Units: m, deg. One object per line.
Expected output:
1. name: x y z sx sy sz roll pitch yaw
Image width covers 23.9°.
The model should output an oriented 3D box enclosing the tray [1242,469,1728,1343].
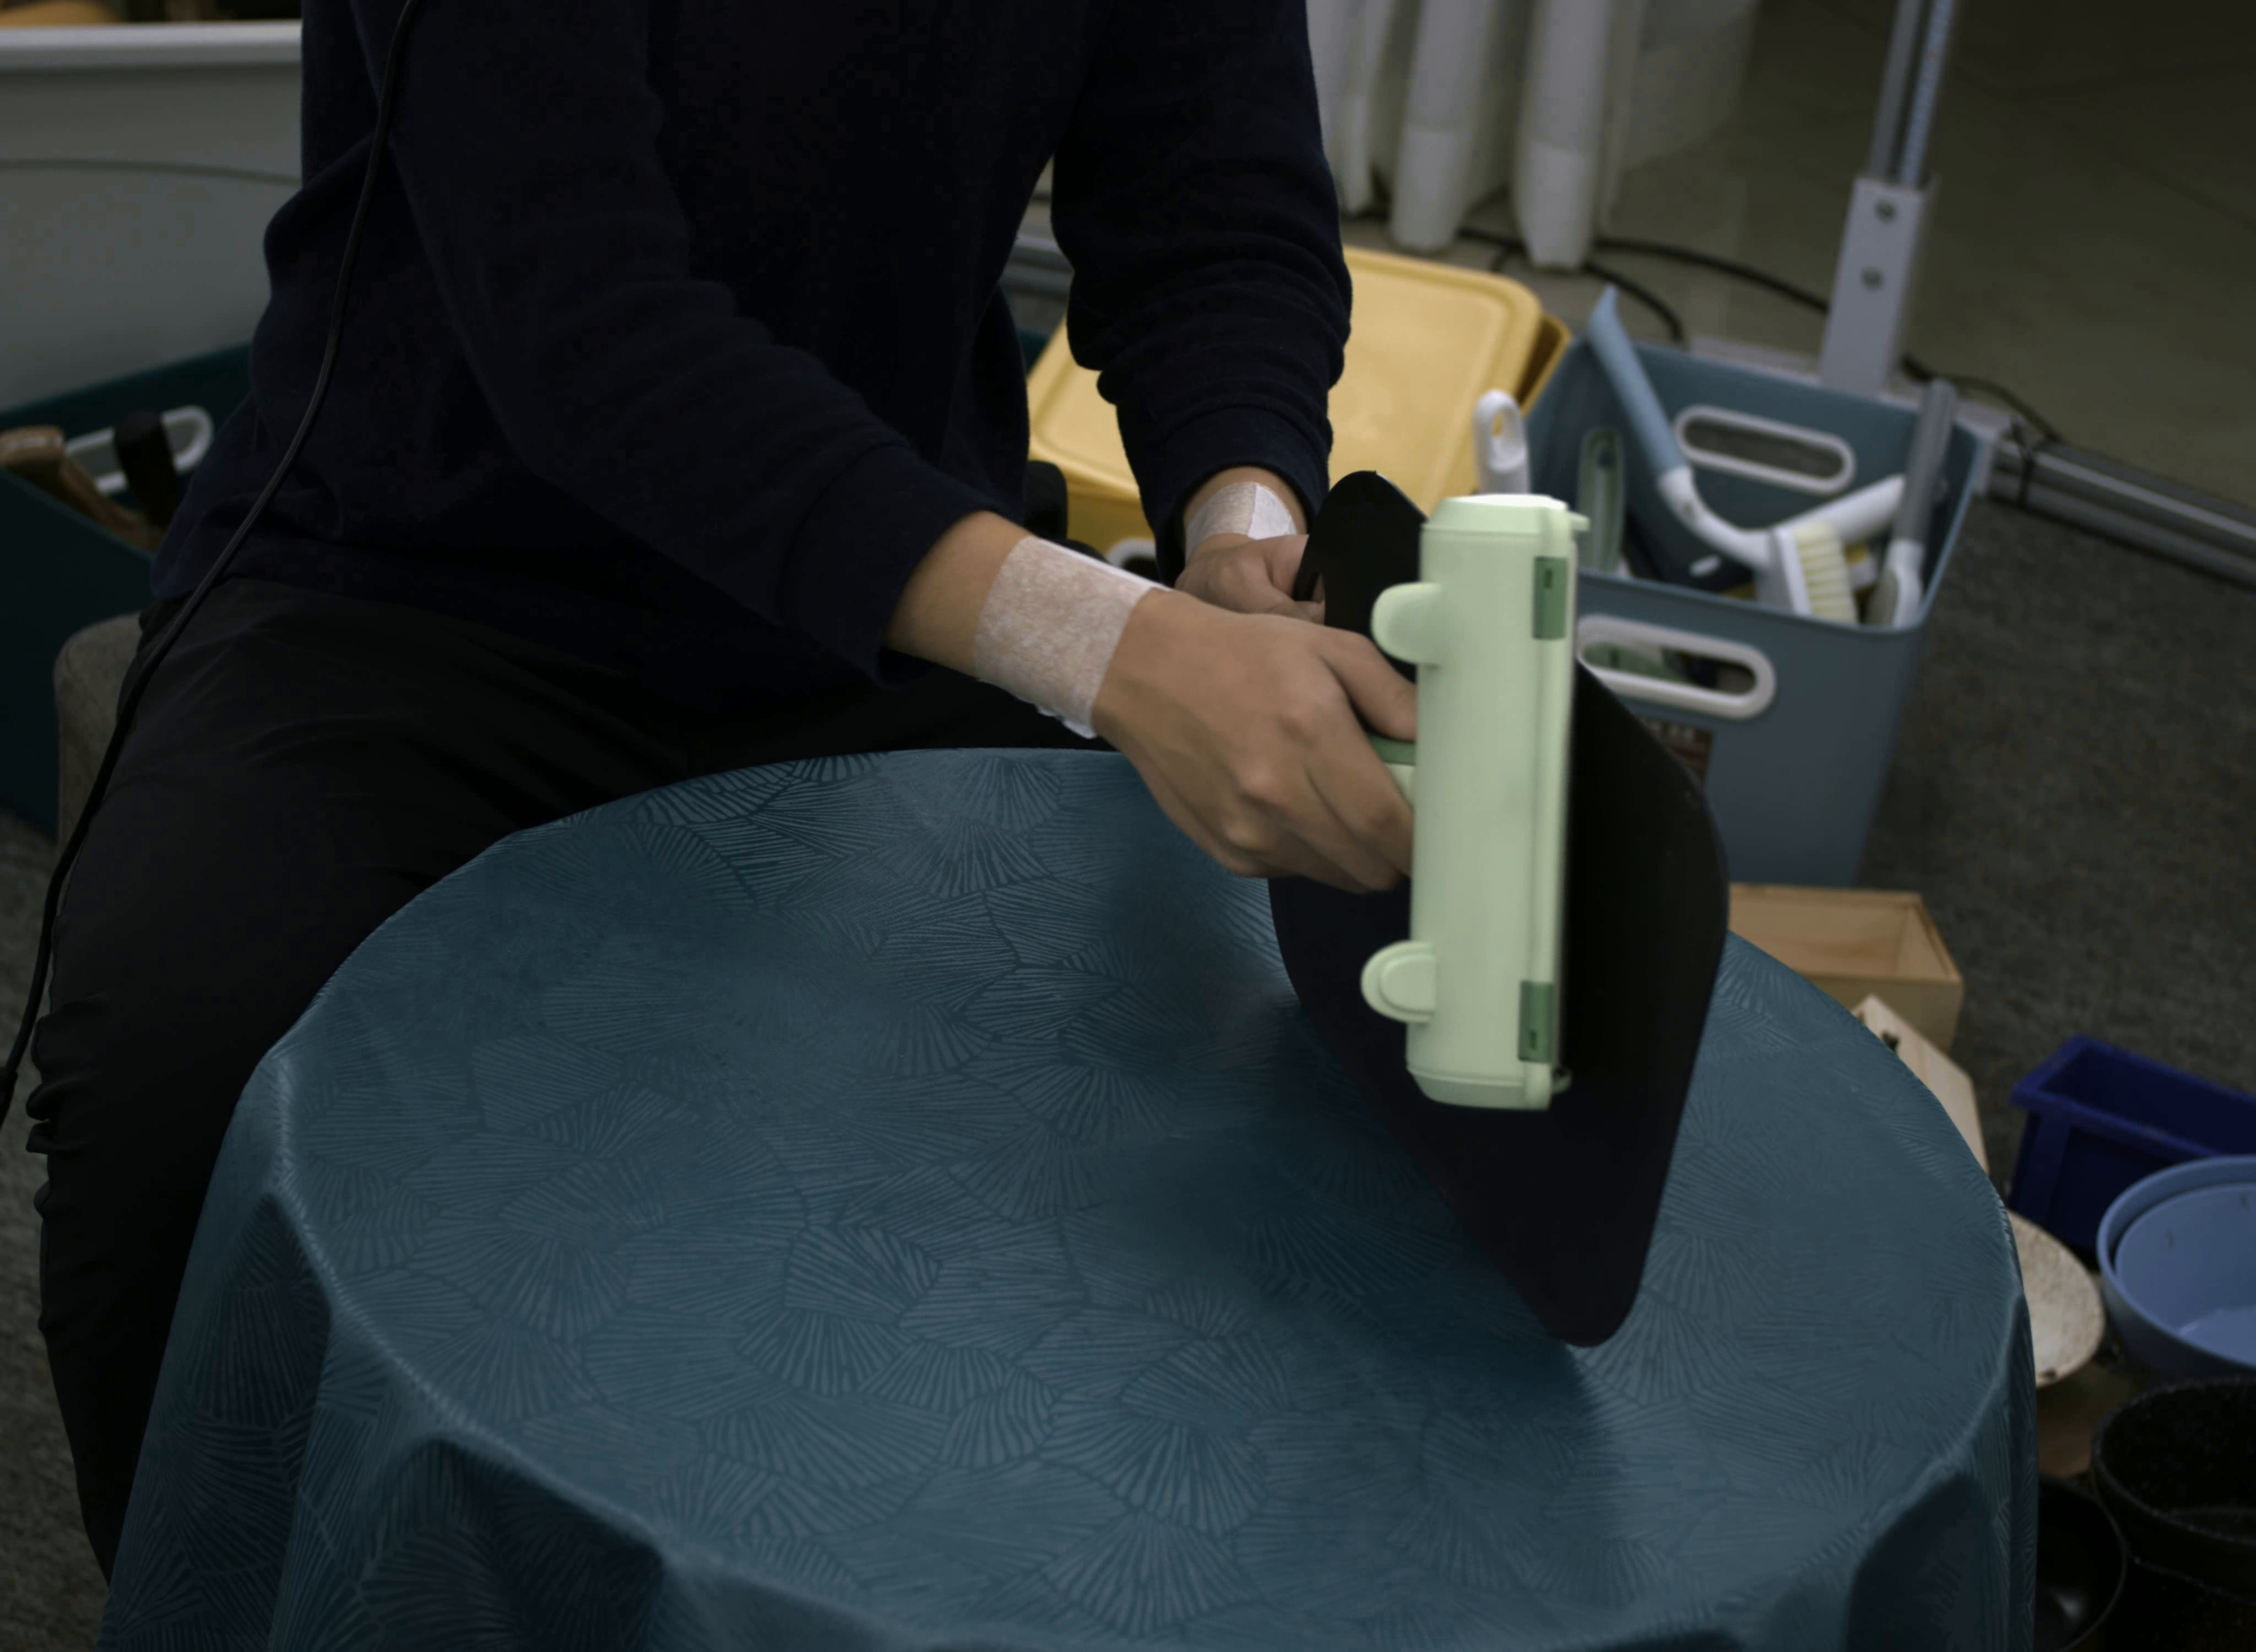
1. tray: 0.112 0.017 1.803 0.010 0.210 0.328 -1 27 -24

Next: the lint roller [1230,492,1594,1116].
1. lint roller: 0.077 -0.011 1.745 0.081 0.199 0.184 -2 5 -42
